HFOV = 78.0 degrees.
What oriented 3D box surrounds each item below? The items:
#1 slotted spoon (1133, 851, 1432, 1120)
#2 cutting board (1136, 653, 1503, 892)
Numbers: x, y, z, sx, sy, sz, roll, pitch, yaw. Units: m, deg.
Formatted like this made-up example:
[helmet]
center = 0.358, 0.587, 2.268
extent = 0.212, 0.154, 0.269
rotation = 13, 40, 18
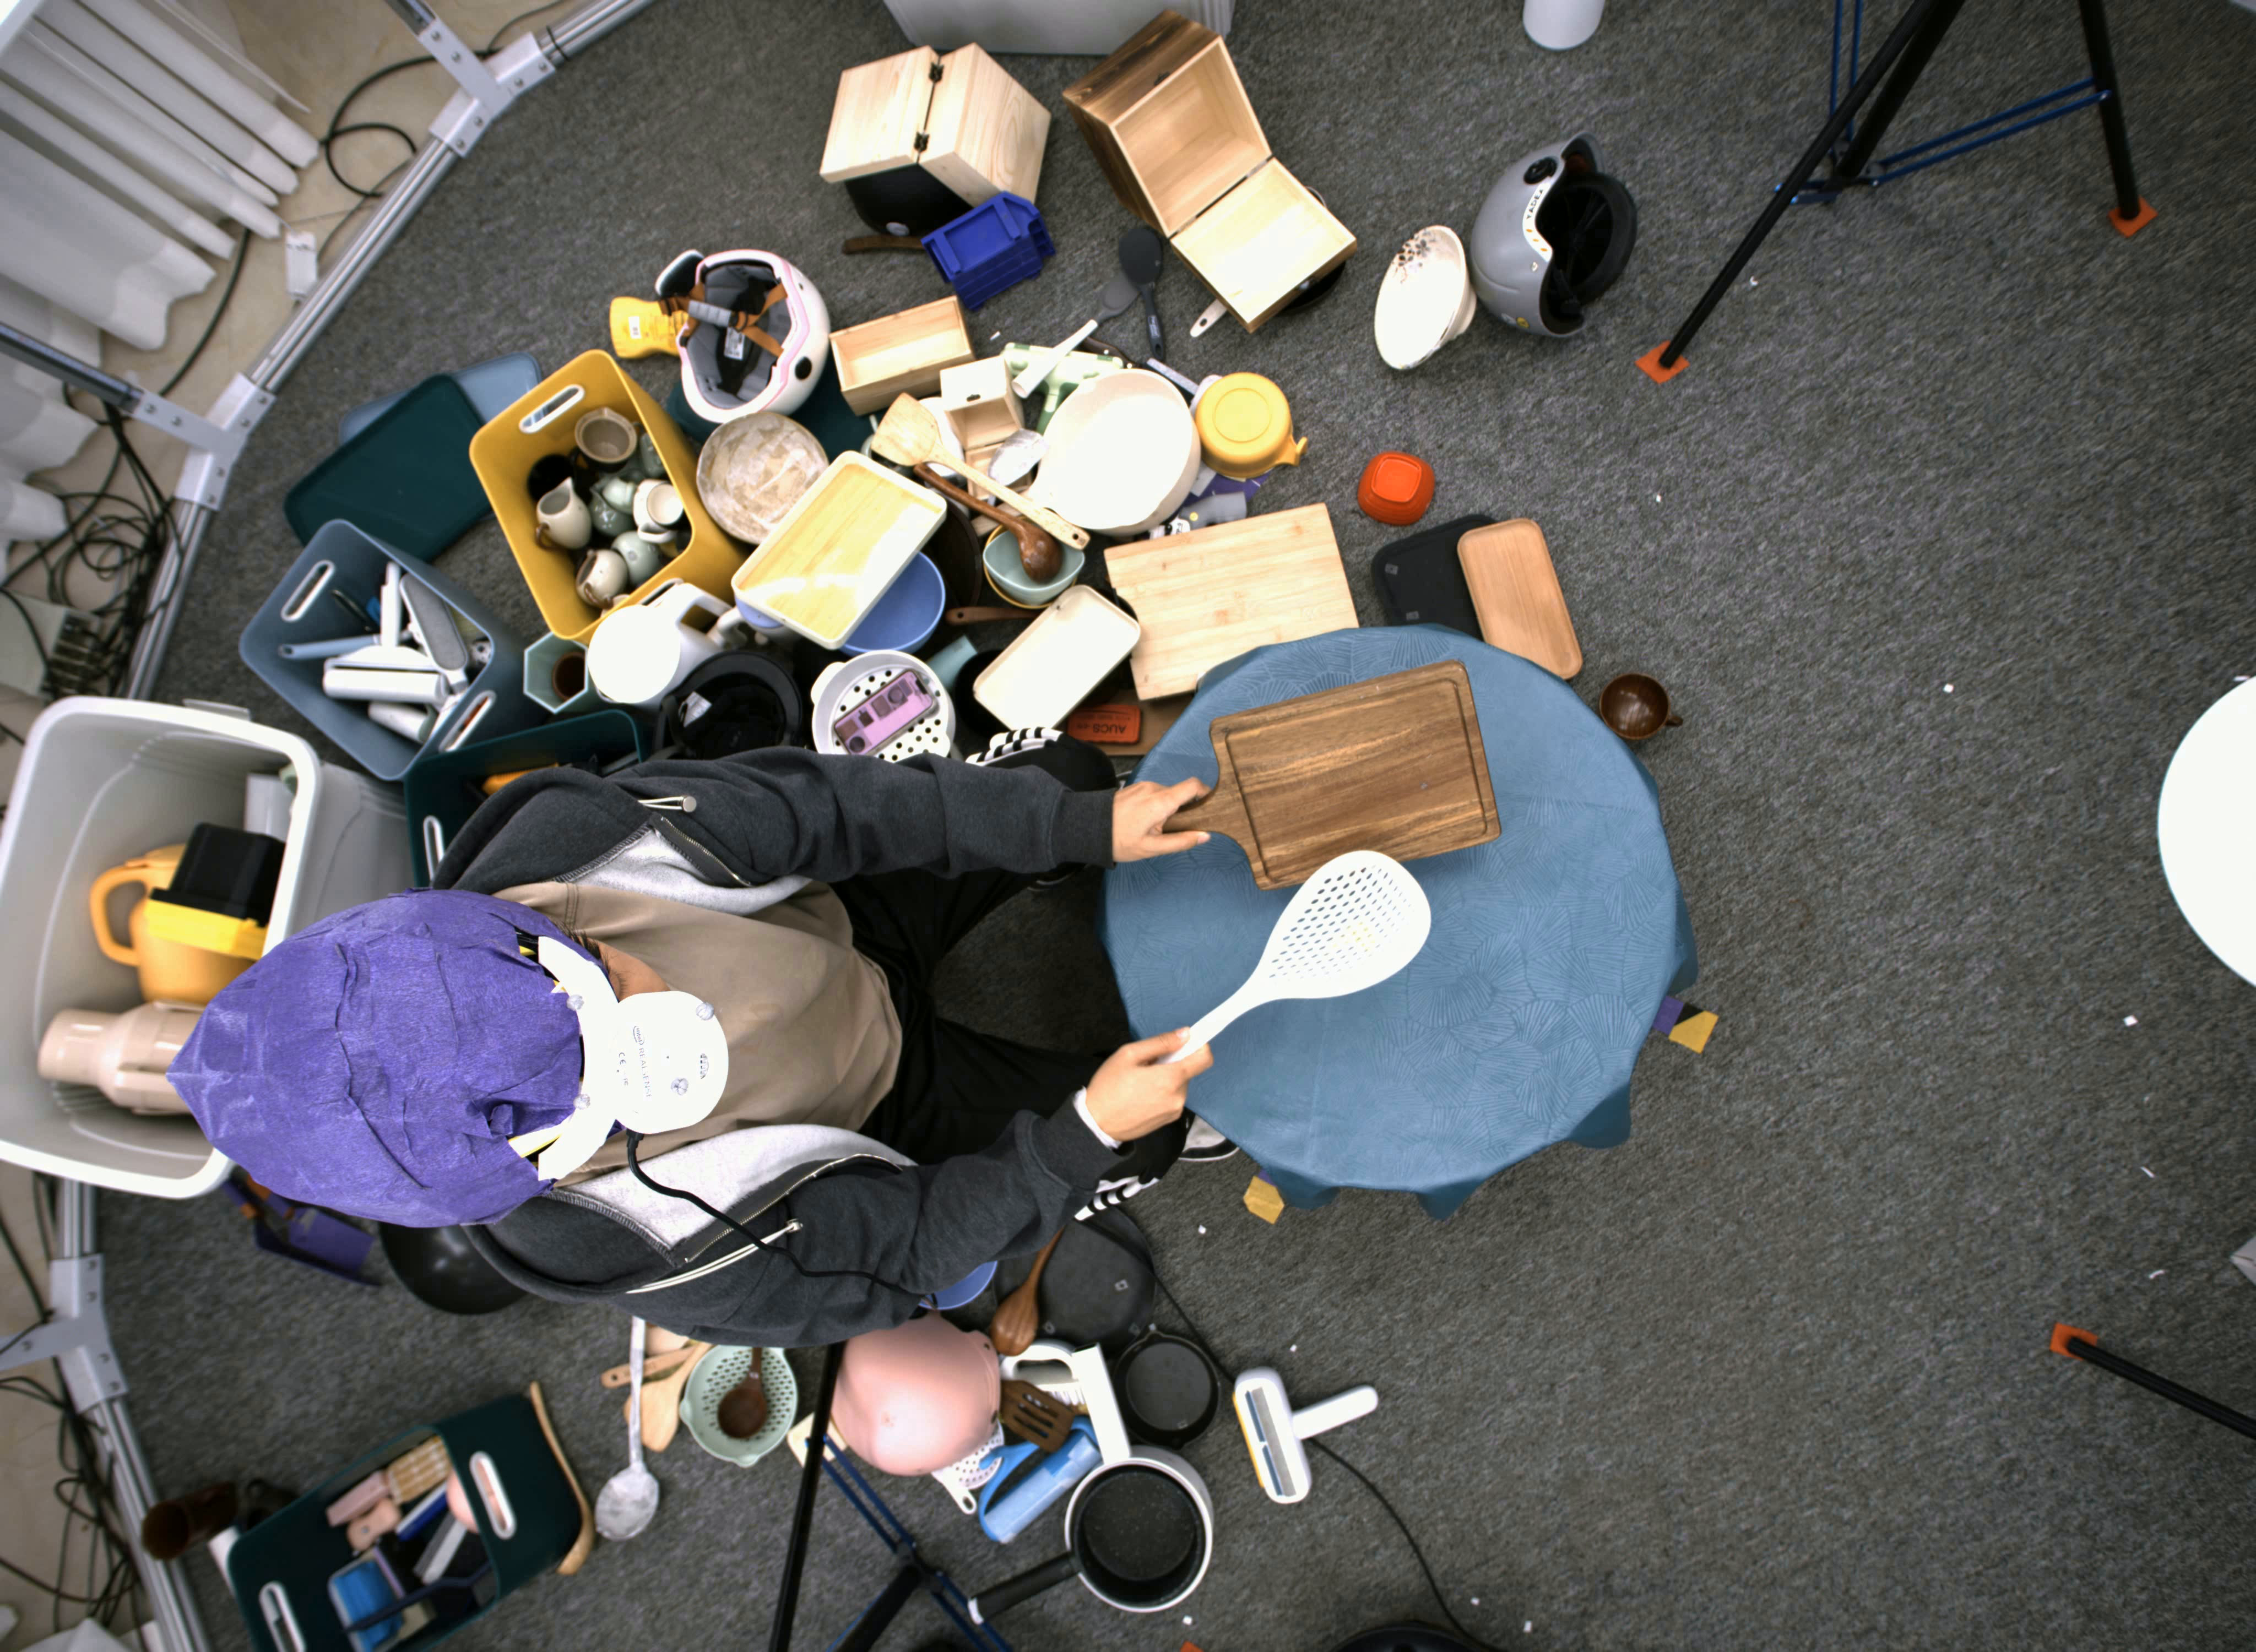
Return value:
[slotted spoon]
center = 0.135, 0.160, 1.319
extent = 0.348, 0.051, 0.134
rotation = -36, 56, 2
[cutting board]
center = 0.175, -0.037, 1.357
extent = 0.355, 0.022, 0.204
rotation = -14, 118, 14
